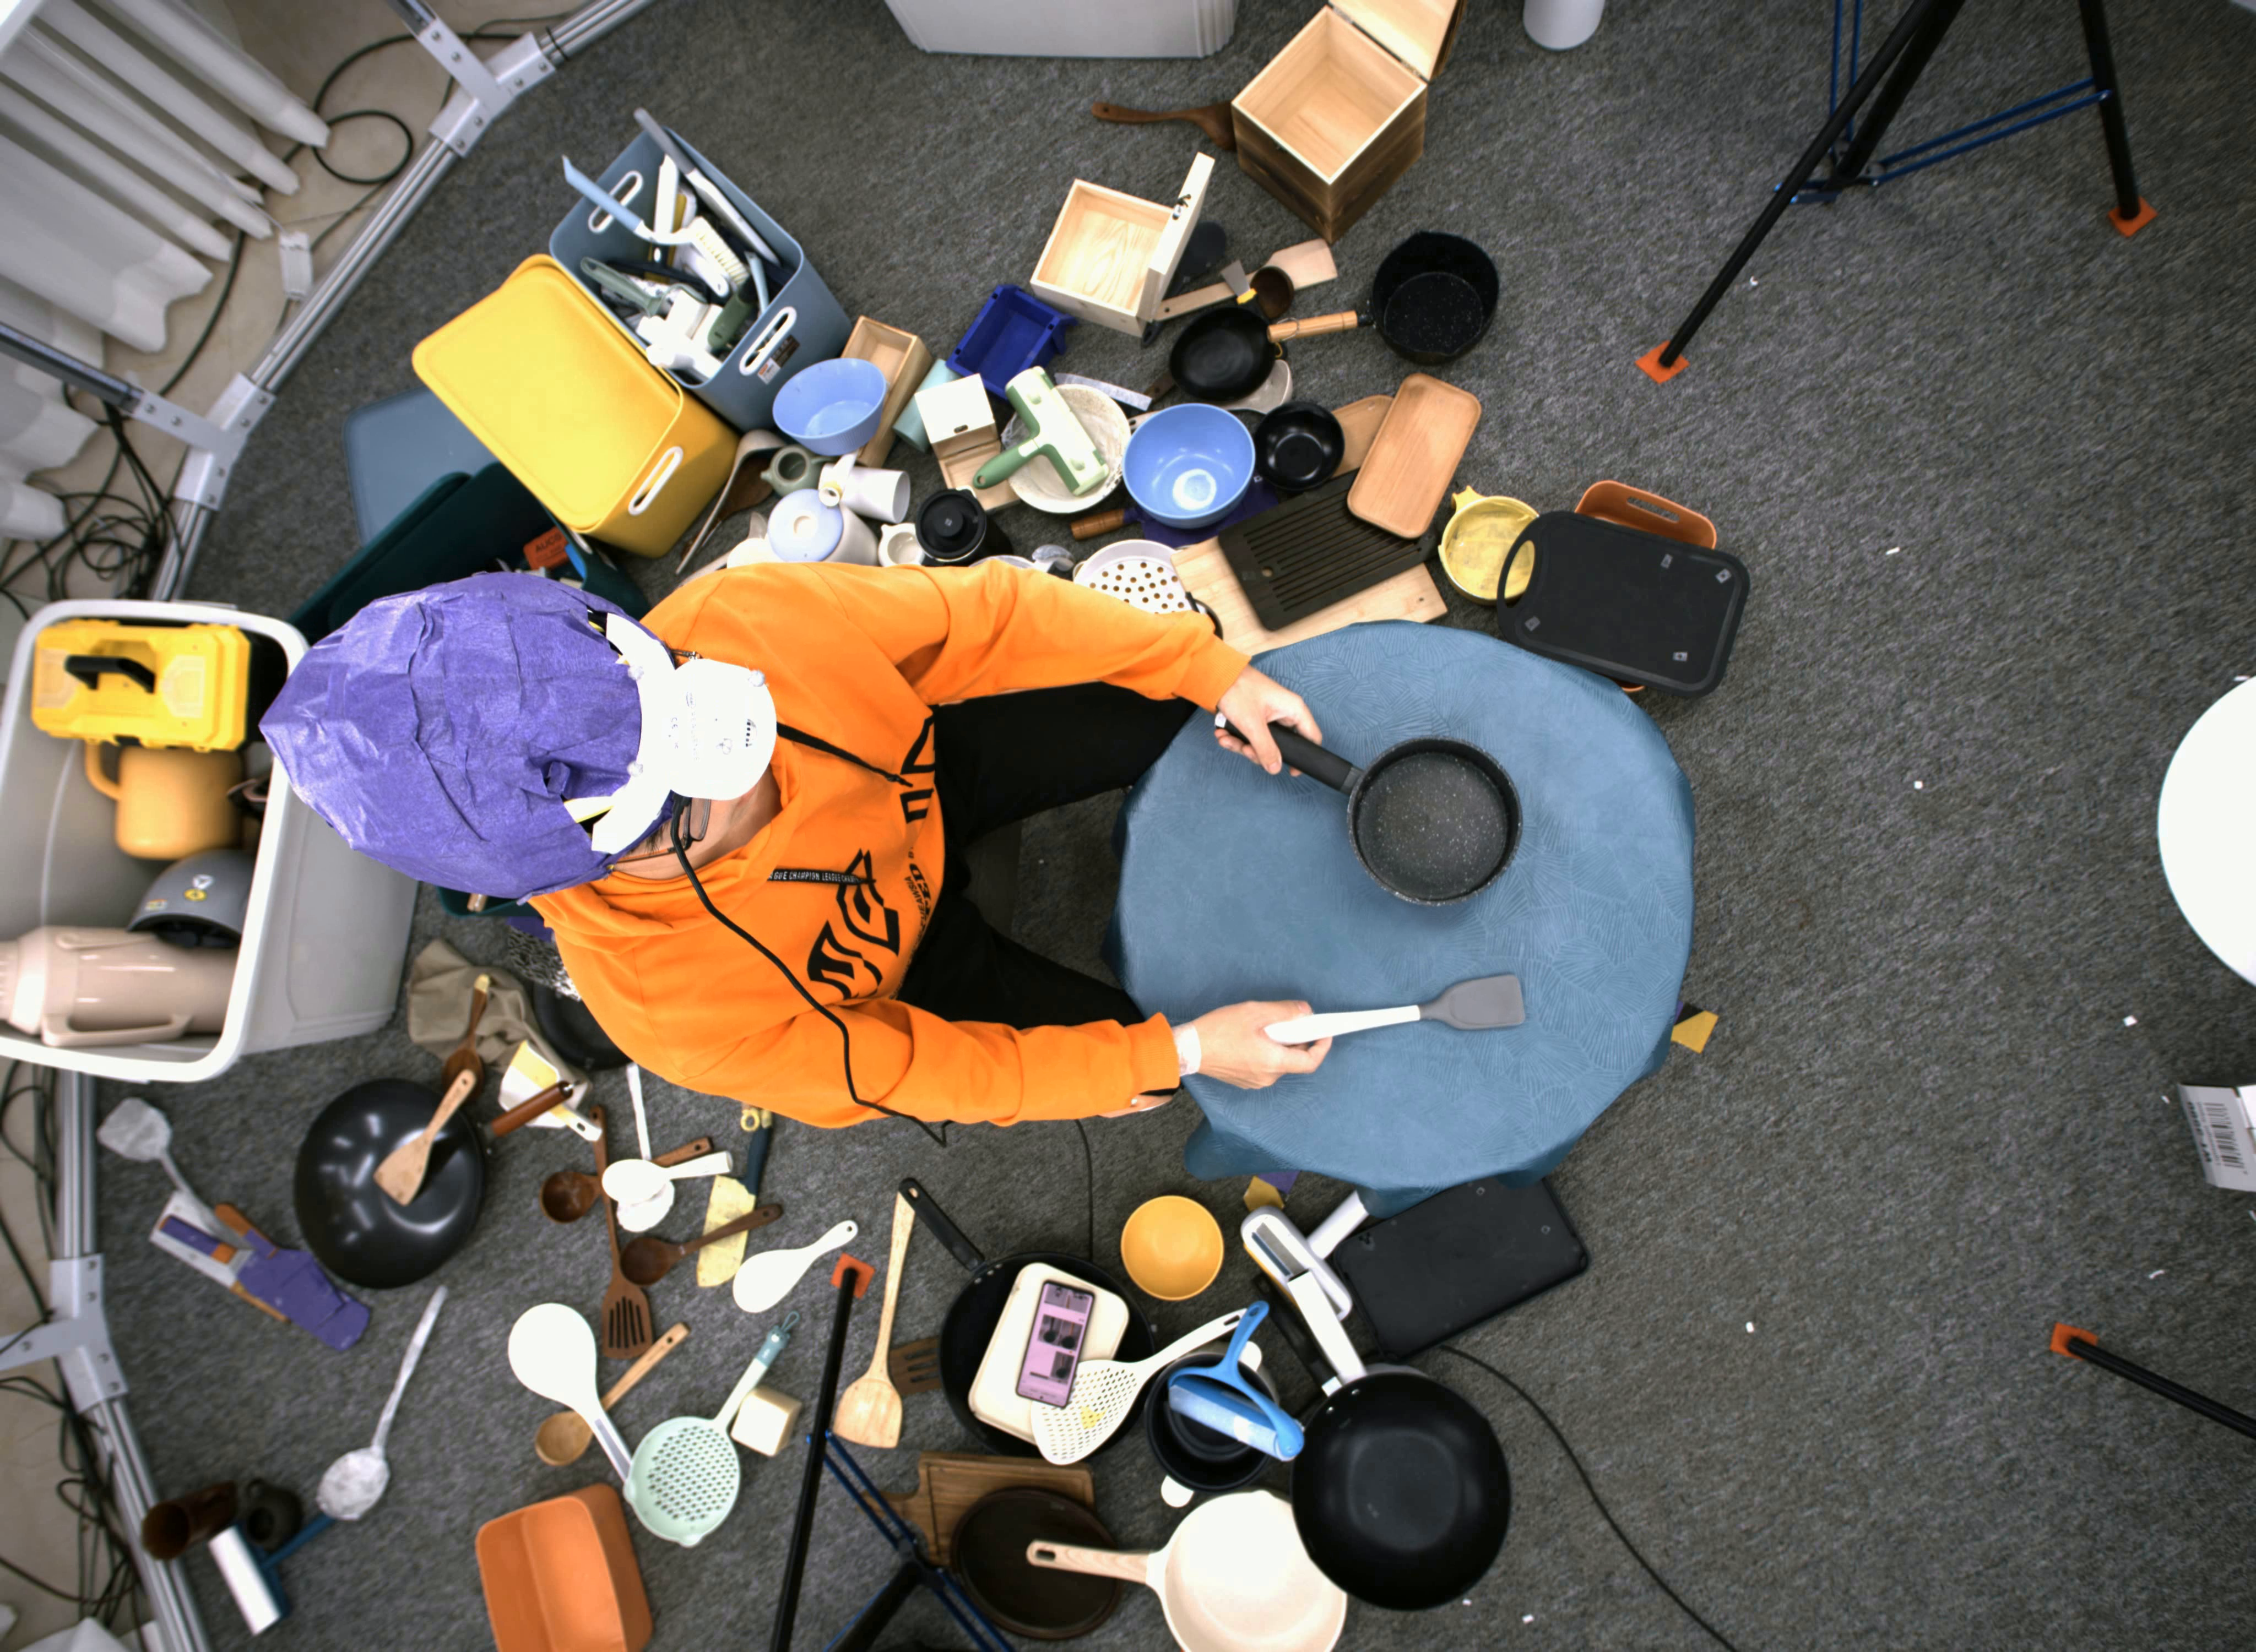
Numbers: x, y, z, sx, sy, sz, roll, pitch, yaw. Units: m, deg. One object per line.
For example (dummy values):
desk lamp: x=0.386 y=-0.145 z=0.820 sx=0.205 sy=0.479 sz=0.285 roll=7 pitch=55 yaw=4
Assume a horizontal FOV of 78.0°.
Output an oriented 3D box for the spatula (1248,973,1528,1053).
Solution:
spatula: x=0.268 y=0.196 z=1.425 sx=0.288 sy=0.032 sz=0.058 roll=-8 pitch=77 yaw=0

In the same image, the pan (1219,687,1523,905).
pan: x=0.242 y=-0.044 z=1.411 sx=0.328 sy=0.086 sz=0.172 roll=30 pitch=92 yaw=9
